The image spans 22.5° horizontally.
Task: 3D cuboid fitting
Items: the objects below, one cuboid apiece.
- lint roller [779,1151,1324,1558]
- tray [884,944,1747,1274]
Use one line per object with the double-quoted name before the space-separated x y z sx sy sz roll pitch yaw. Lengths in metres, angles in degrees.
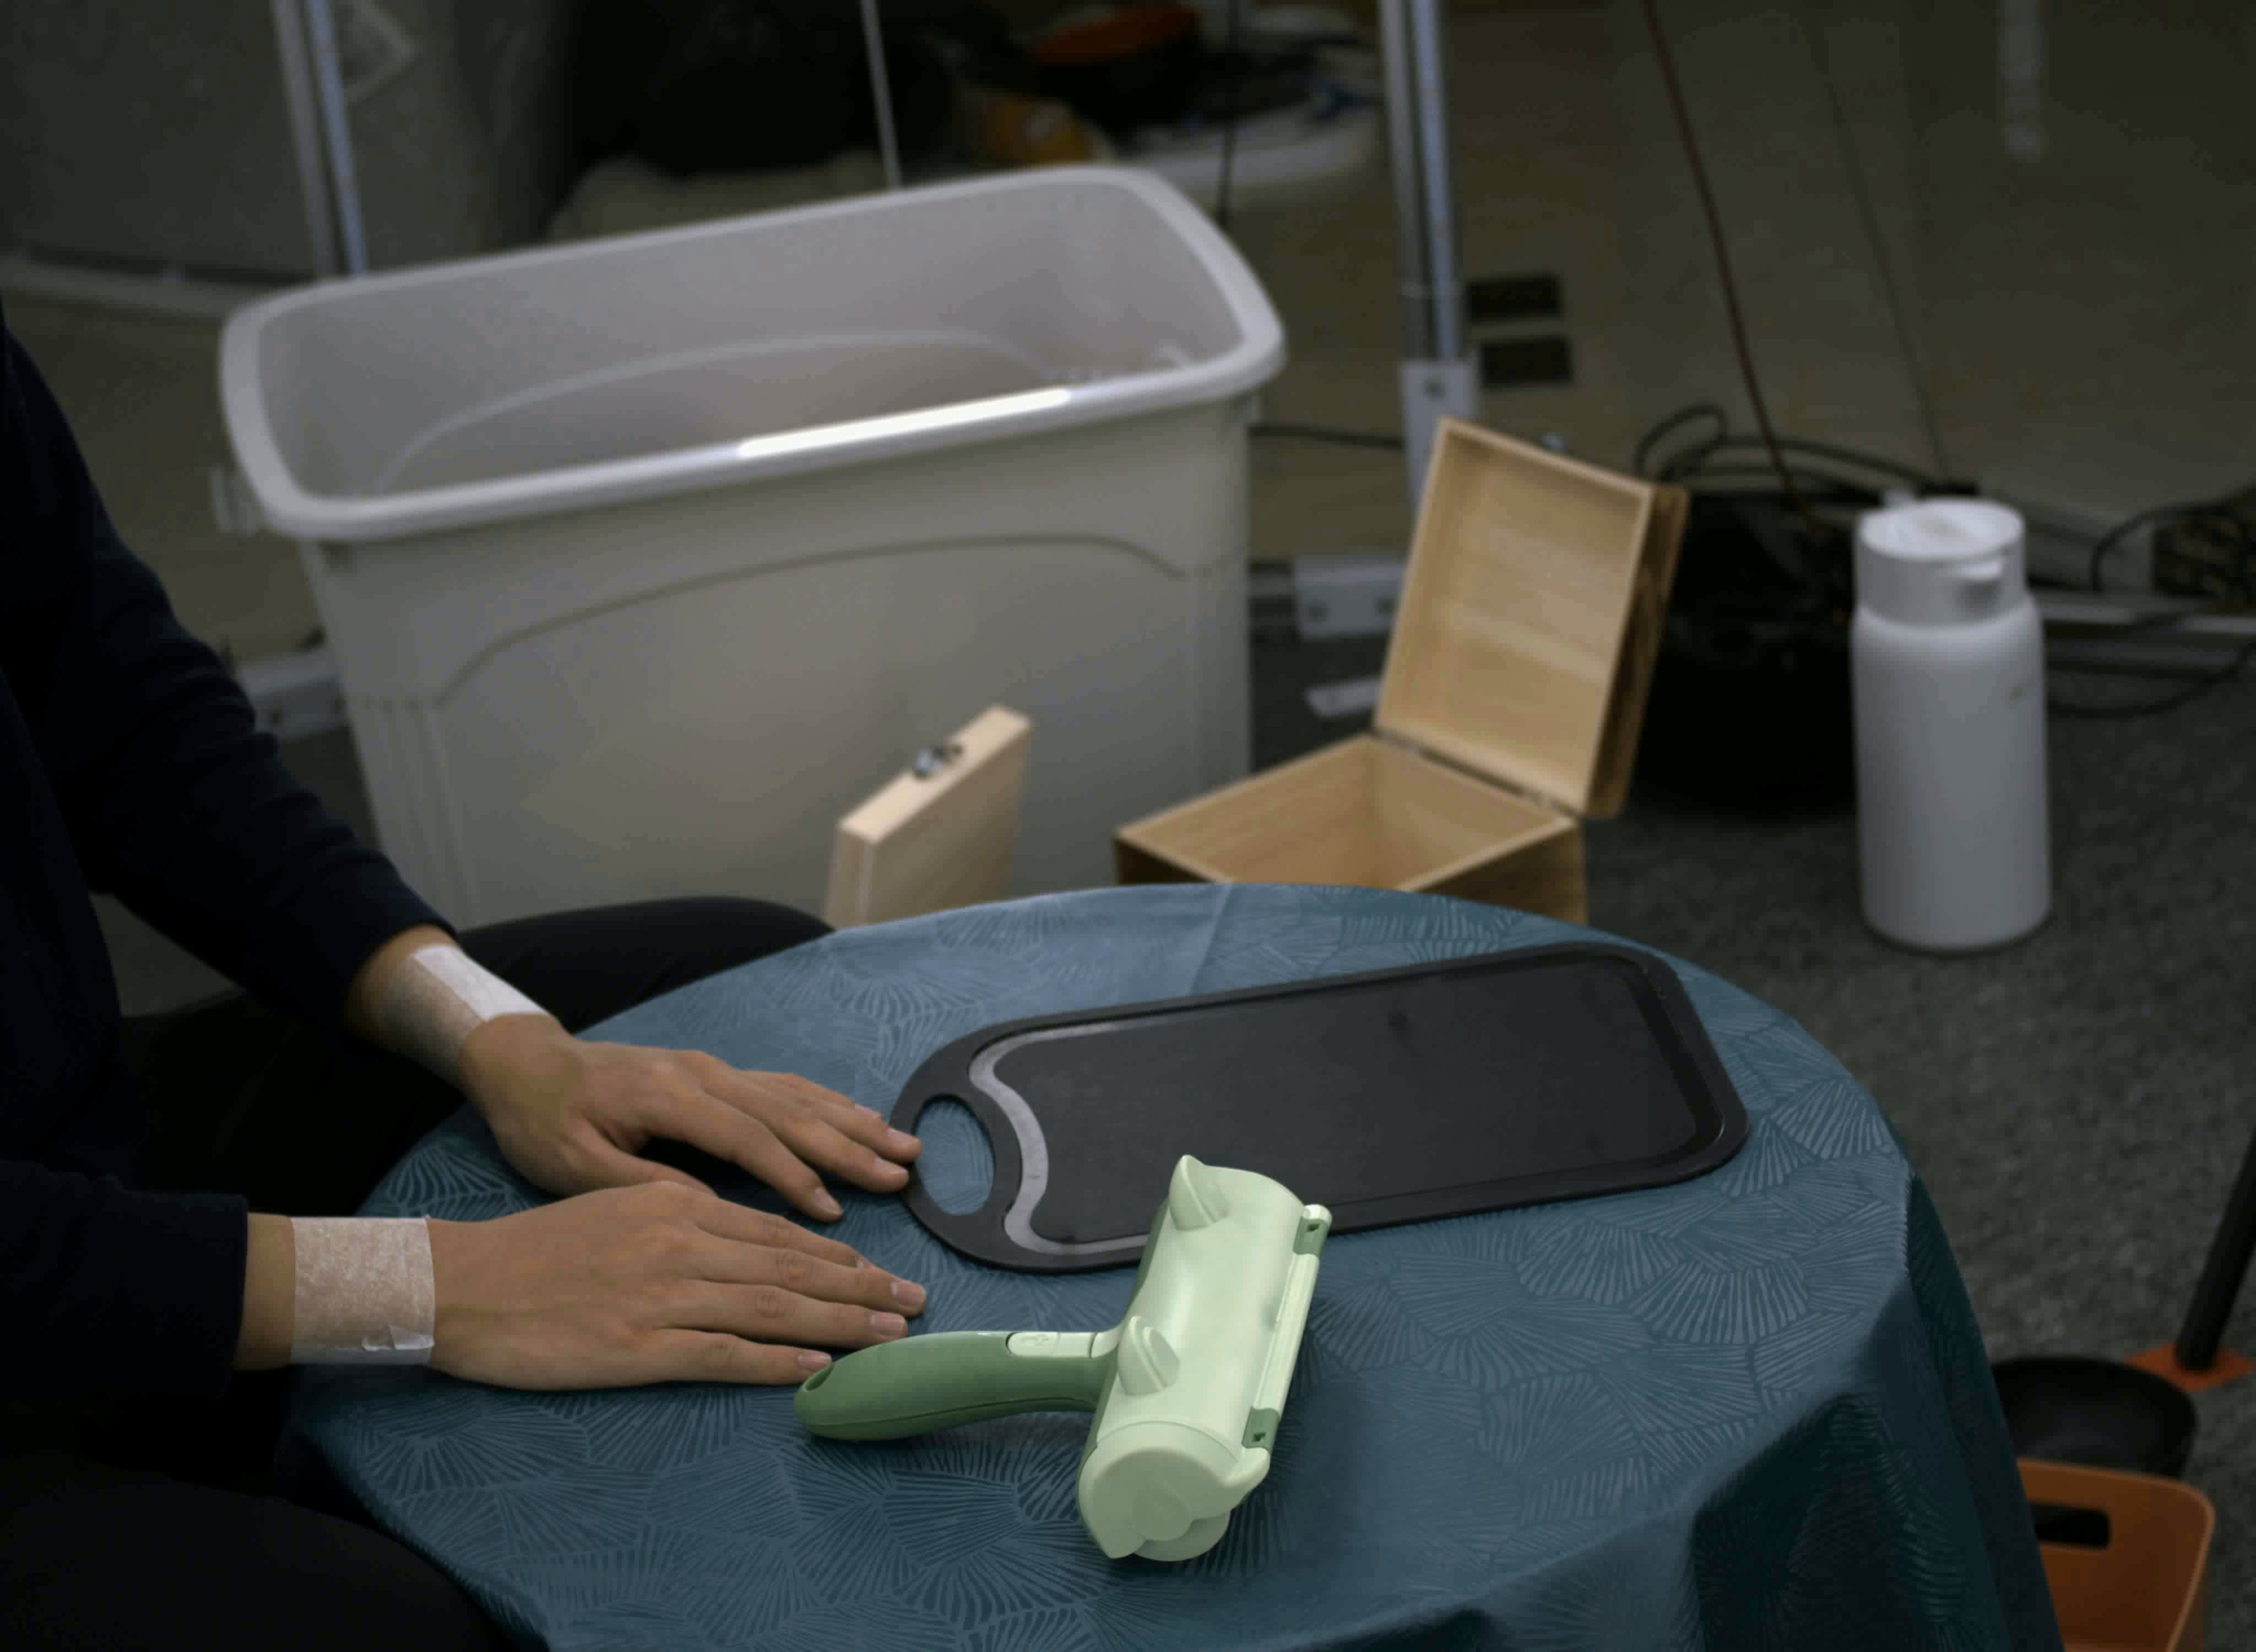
"lint roller" -0.032 0.174 1.977 0.183 0.083 0.196 4 25 7
"tray" 0.067 0.107 2.192 0.325 0.010 0.208 -8 25 -4
